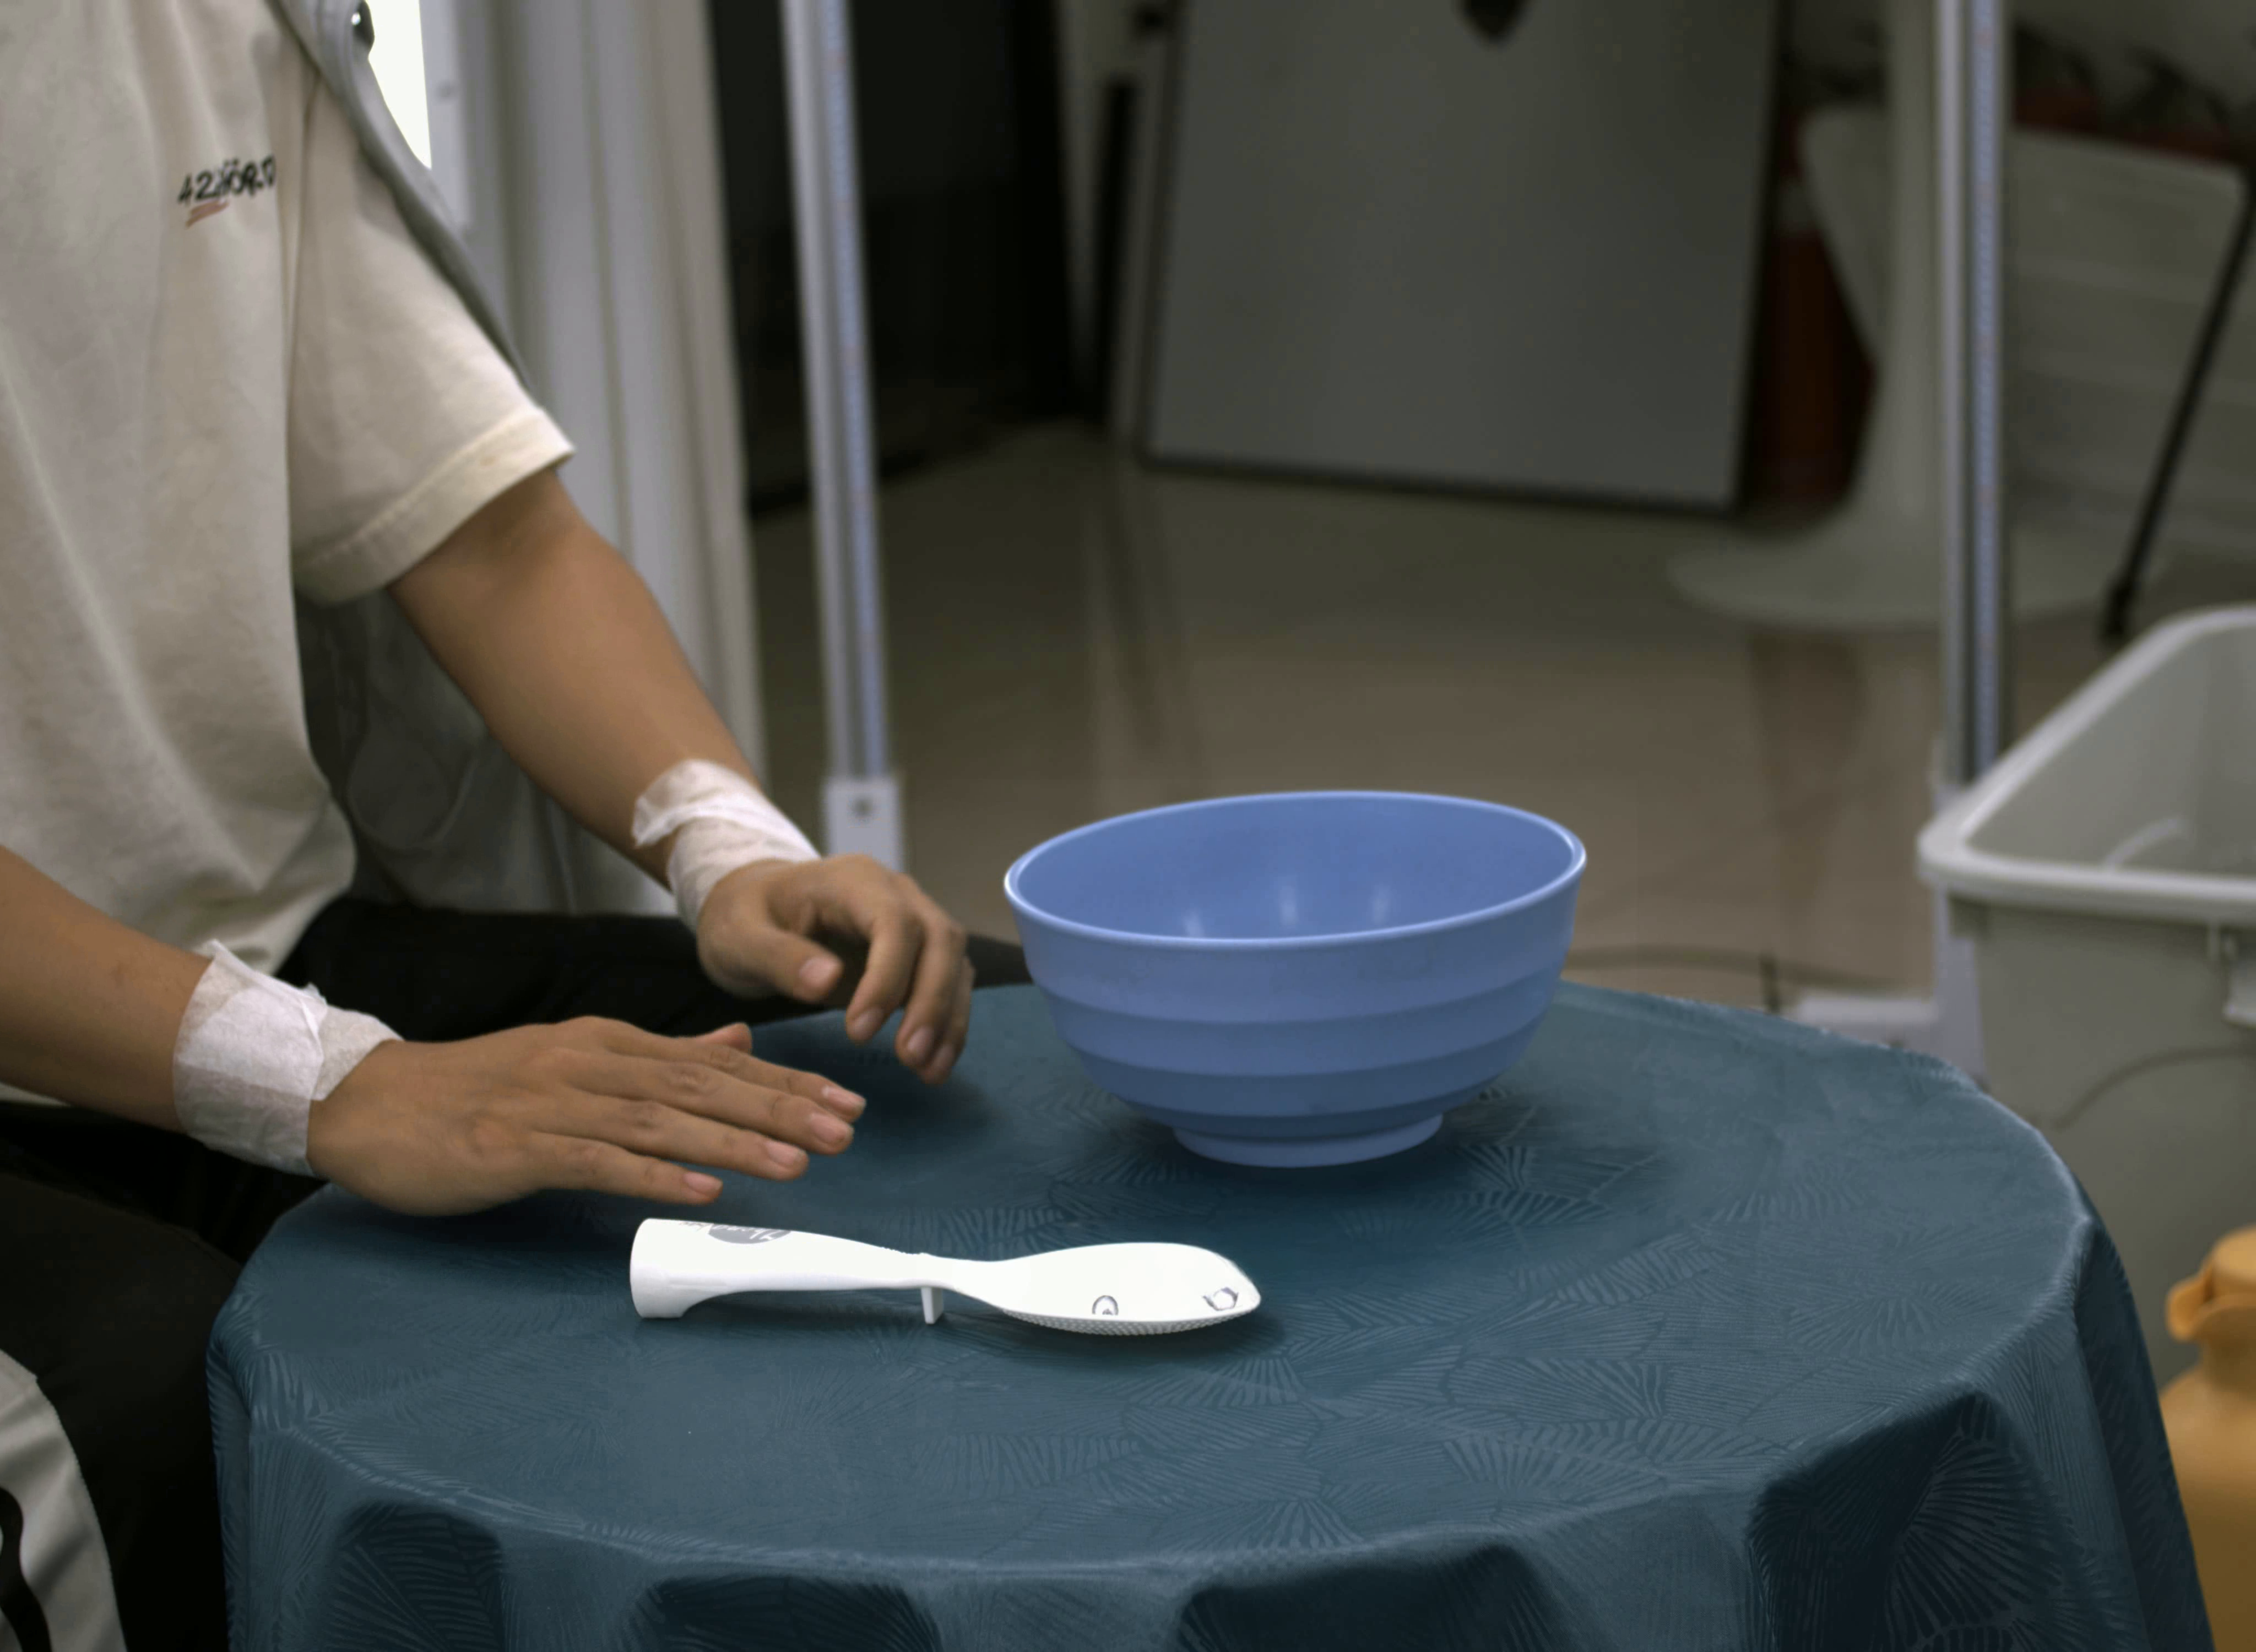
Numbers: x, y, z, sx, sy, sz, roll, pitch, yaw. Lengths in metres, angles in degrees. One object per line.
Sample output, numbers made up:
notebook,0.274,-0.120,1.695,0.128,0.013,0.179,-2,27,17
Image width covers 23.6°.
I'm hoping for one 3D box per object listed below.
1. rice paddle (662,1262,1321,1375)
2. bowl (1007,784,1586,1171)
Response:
rice paddle,-0.041,0.144,1.655,0.203,0.030,0.068,-6,0,8
bowl,0.058,0.056,1.817,0.194,0.096,0.197,-3,15,0
